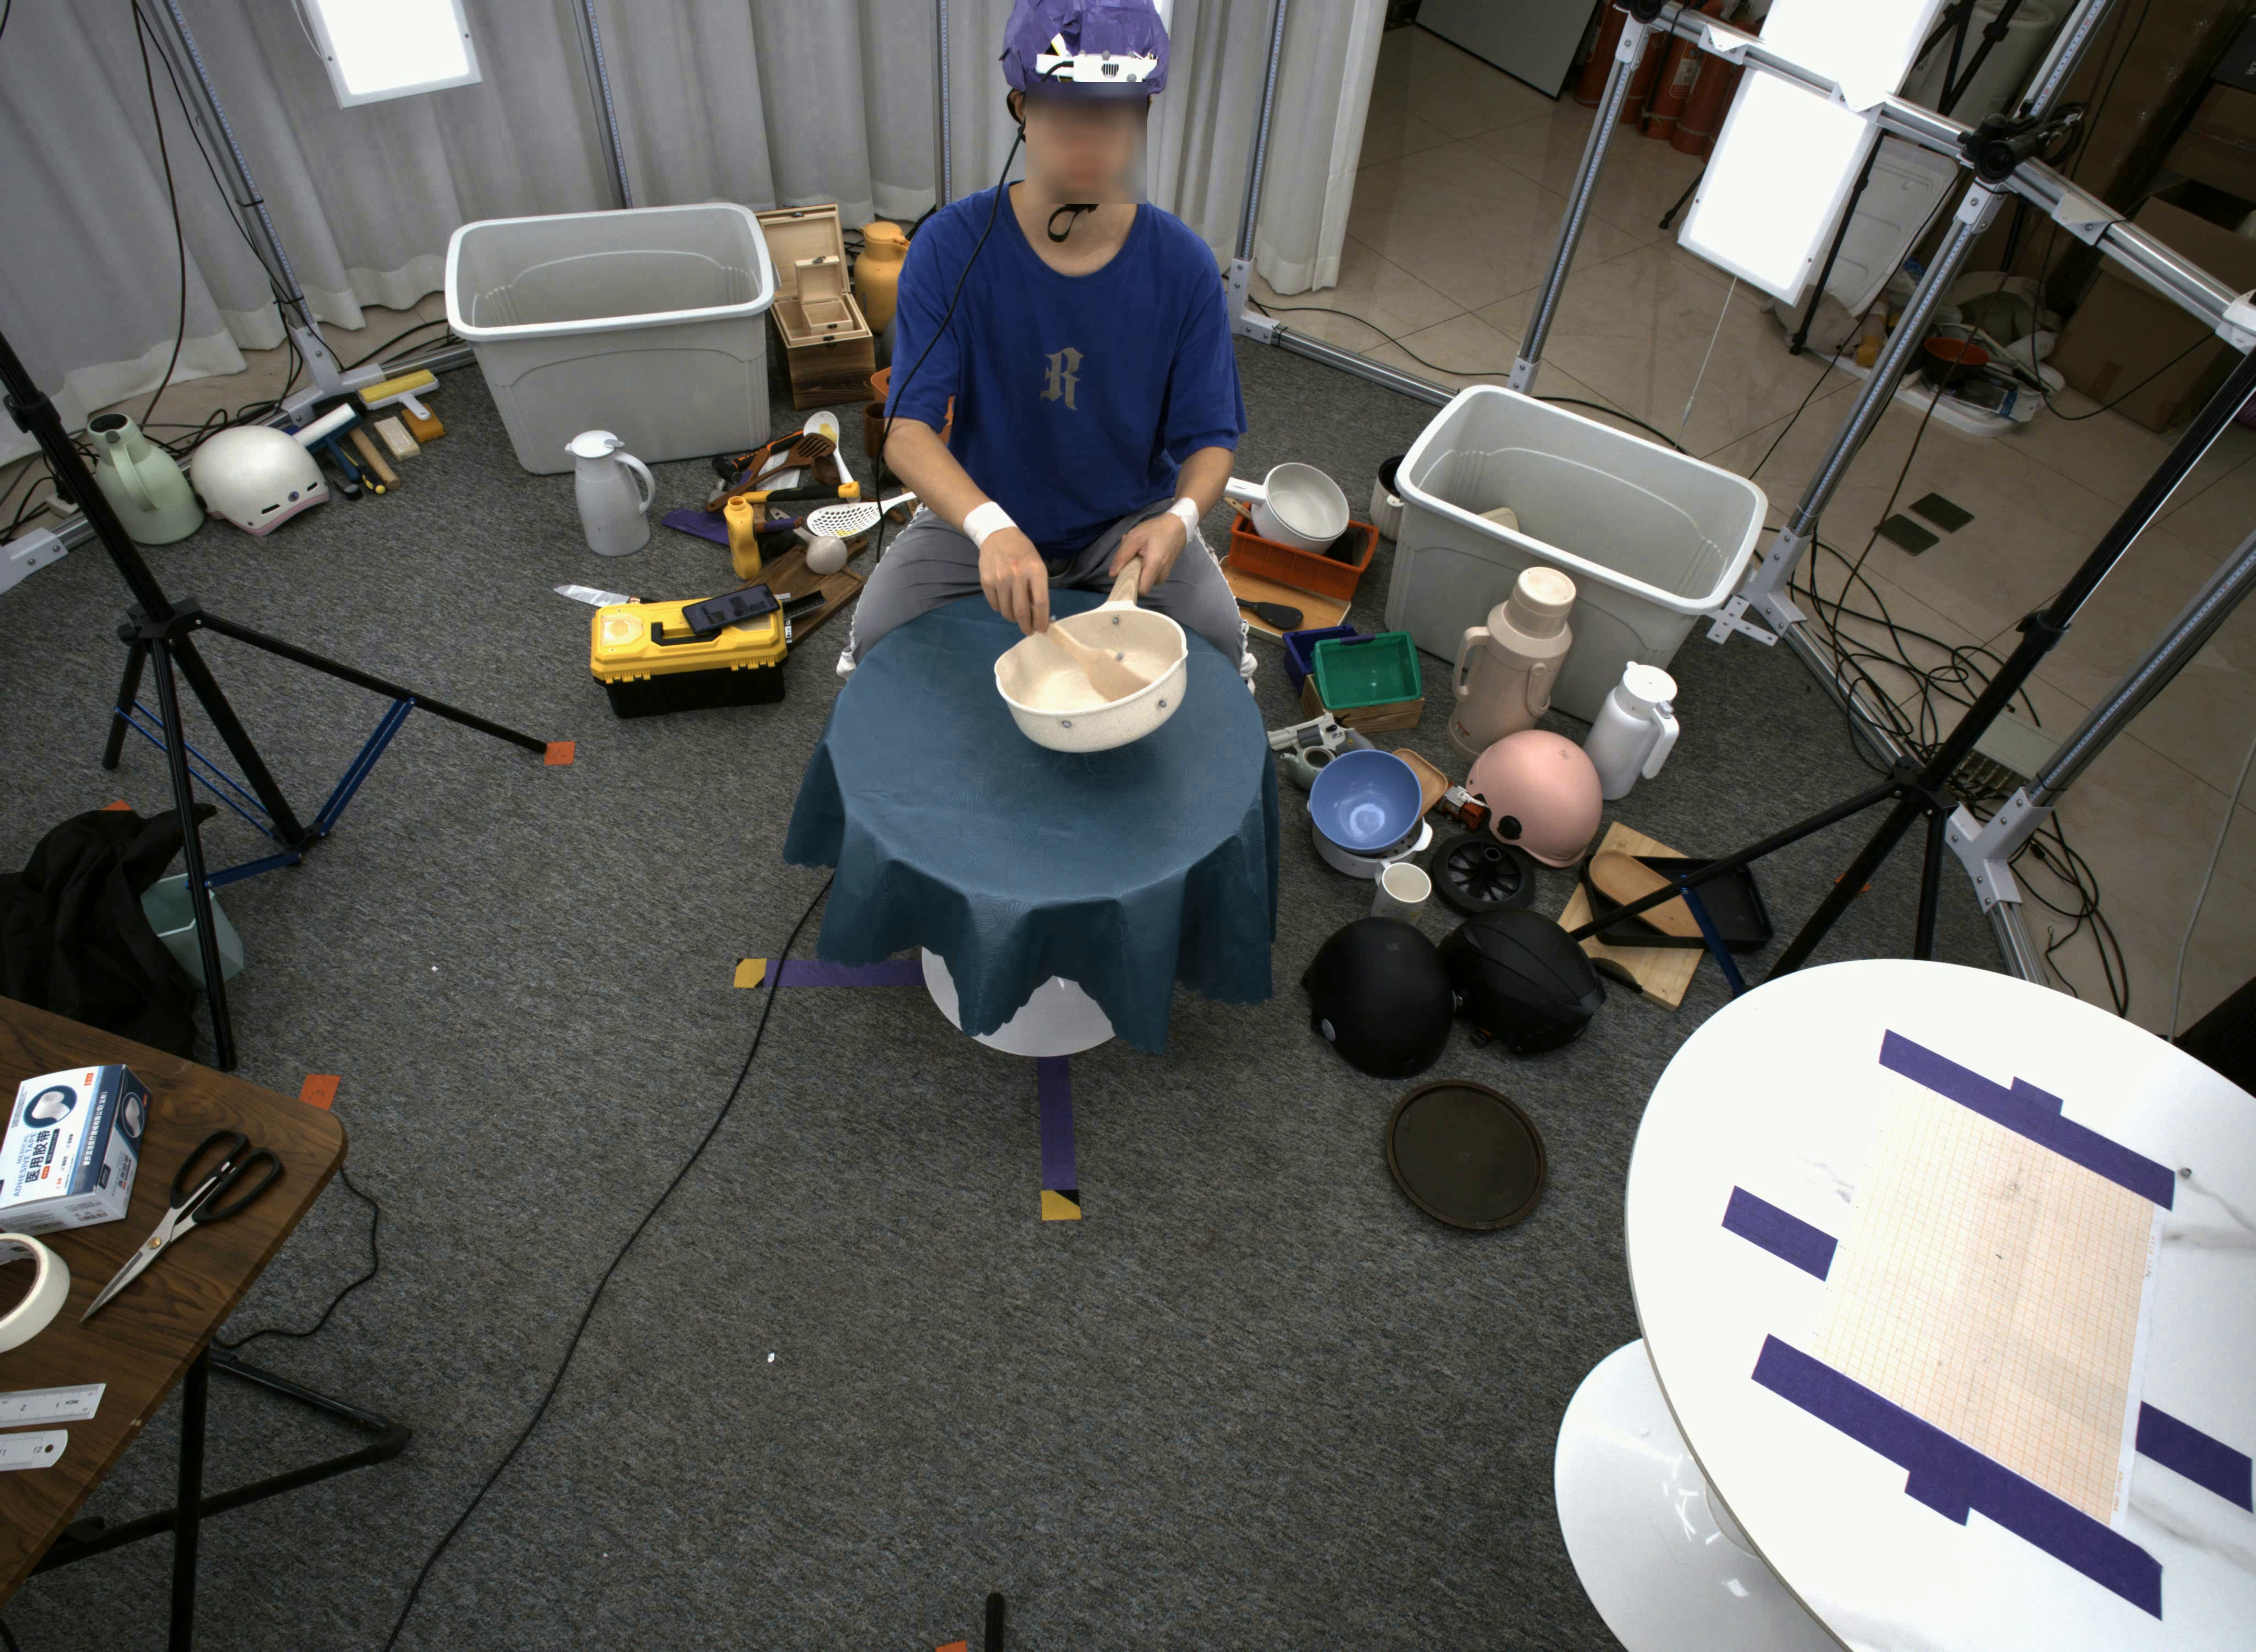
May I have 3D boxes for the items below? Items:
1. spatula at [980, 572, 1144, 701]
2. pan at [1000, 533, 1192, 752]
[{"bbox_3d":[-0.090,-0.246,1.669,0.297,0.070,0.011,40,54,22],"label":"spatula"},{"bbox_3d":[-0.014,-0.252,1.748,0.264,0.099,0.444,-3,38,20],"label":"pan"}]
